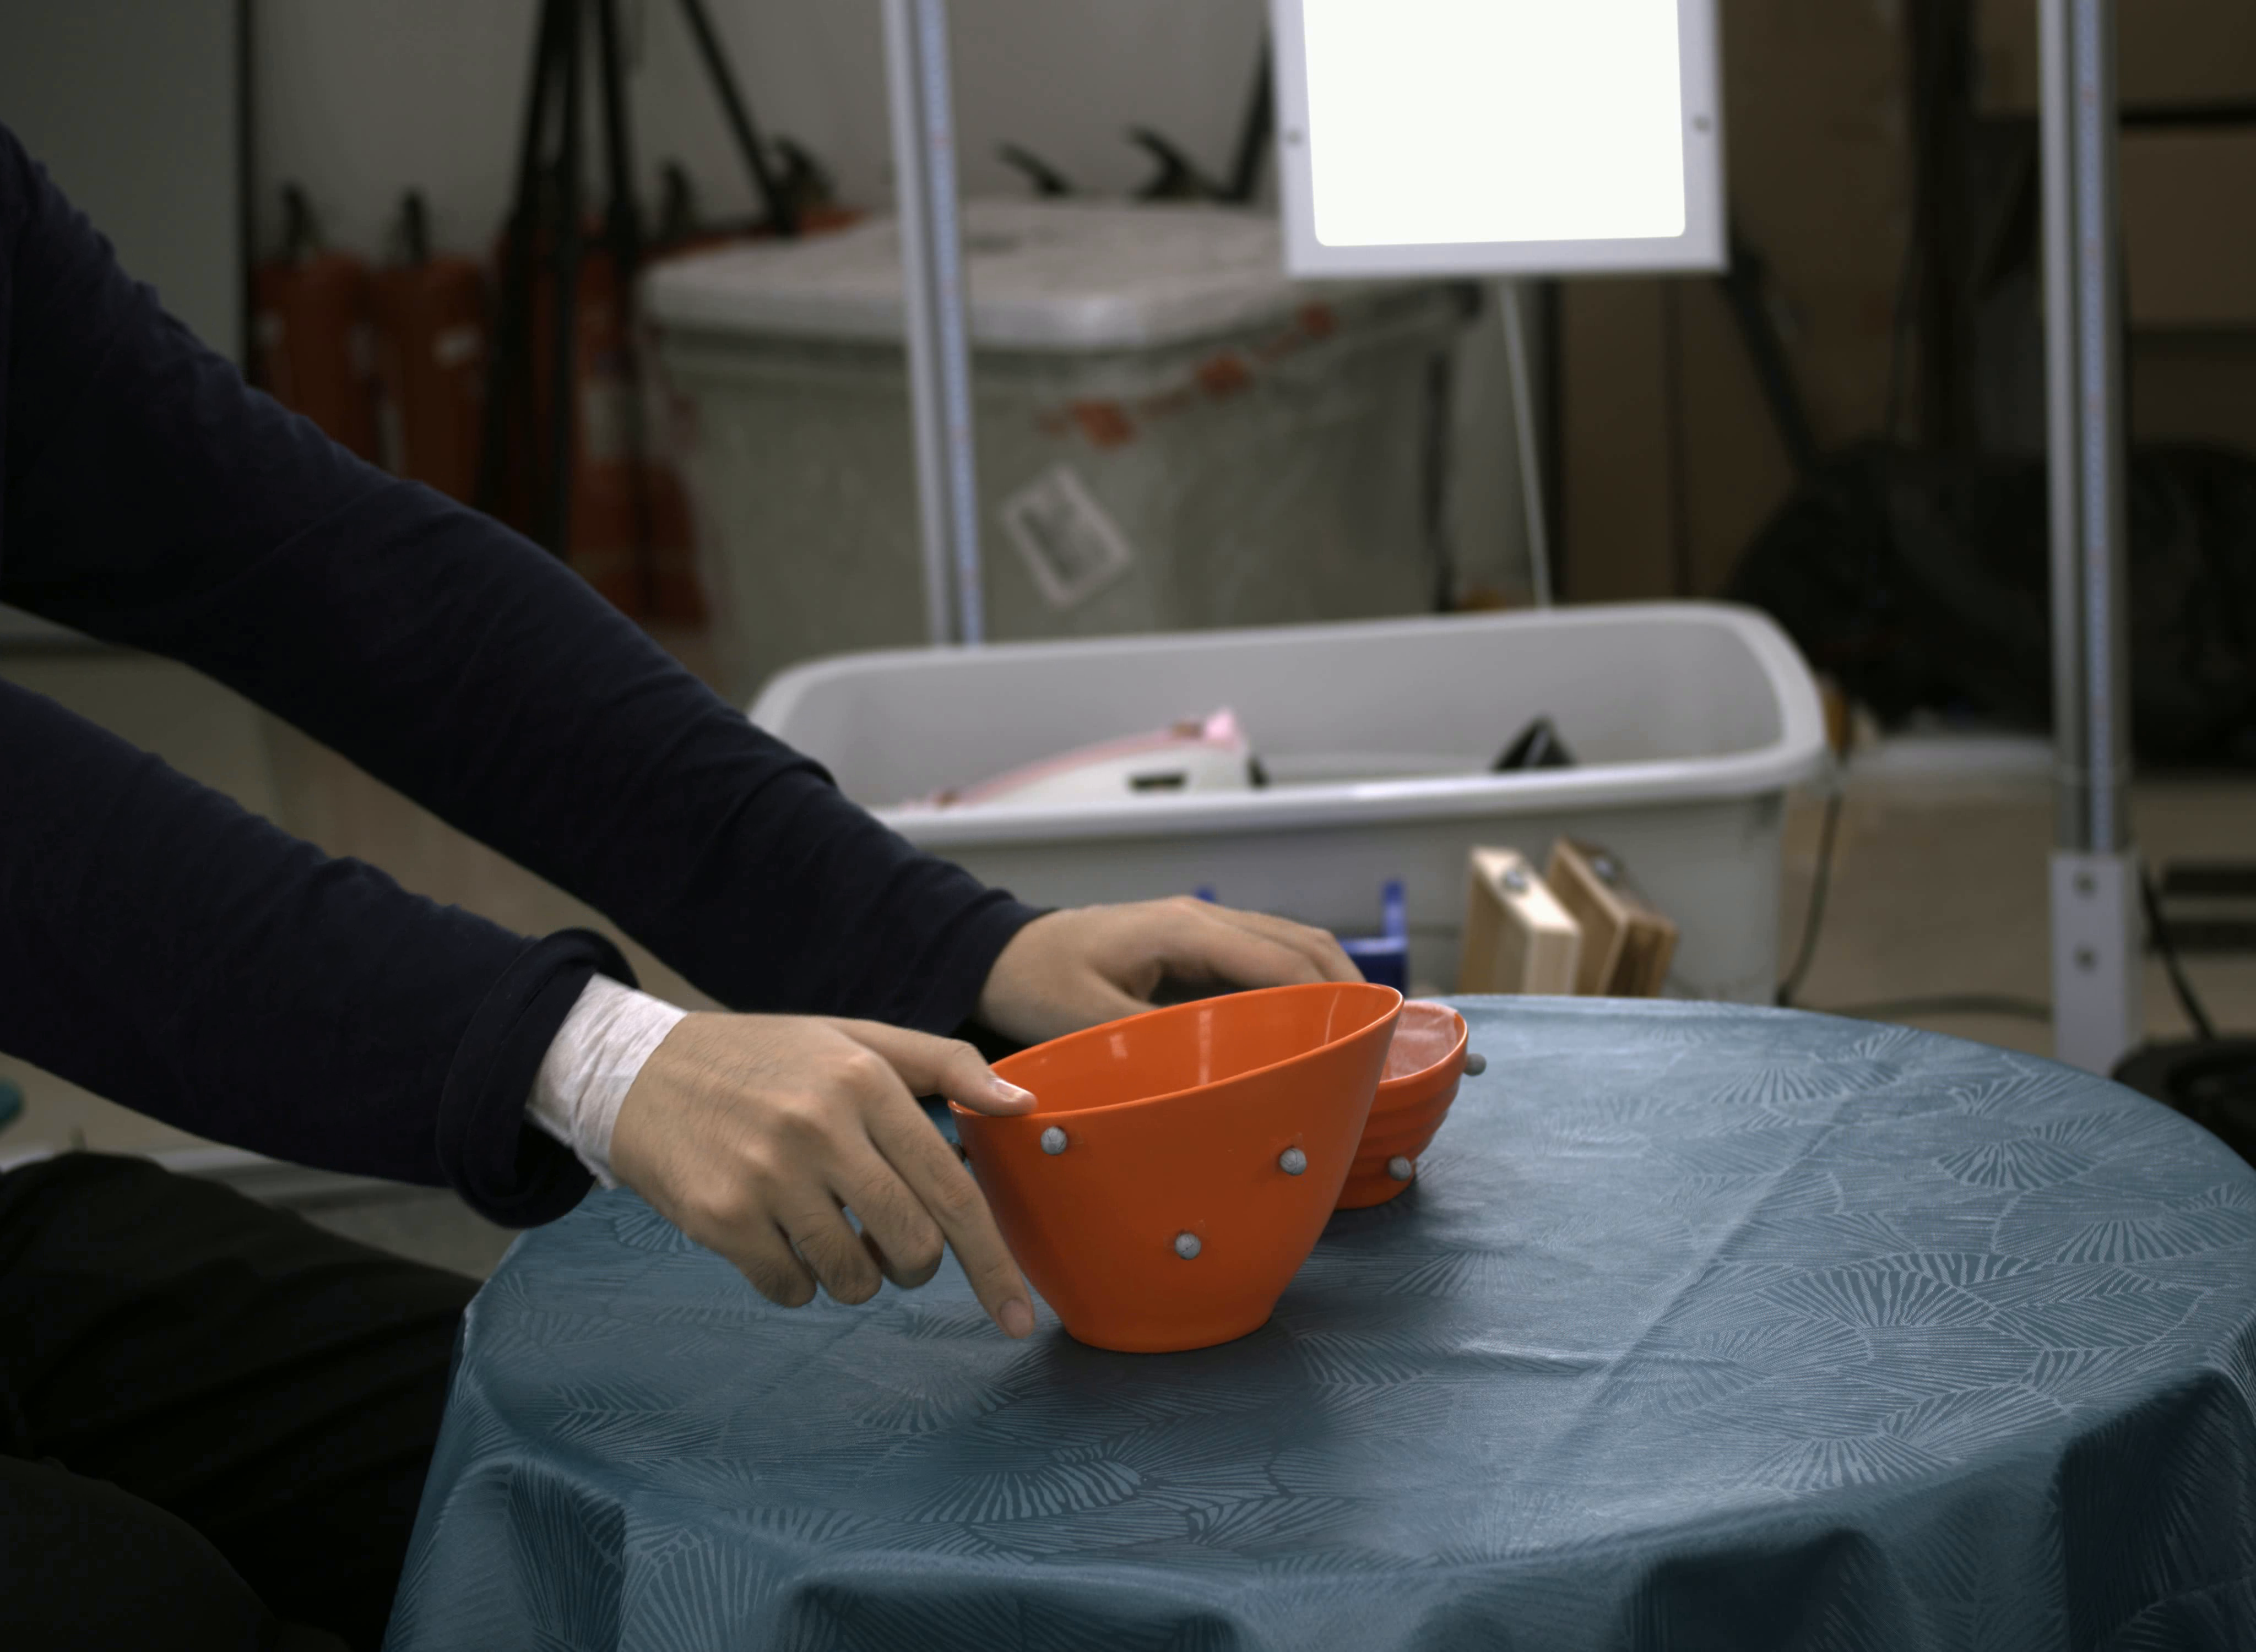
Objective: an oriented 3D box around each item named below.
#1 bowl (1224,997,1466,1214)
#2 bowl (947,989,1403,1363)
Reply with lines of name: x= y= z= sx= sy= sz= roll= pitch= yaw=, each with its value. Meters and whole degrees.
bowl: x=0.063 y=0.099 z=1.891 sx=0.118 sy=0.051 sz=0.119 roll=-7 pitch=15 yaw=0
bowl: x=0.018 y=0.112 z=1.749 sx=0.147 sy=0.105 sz=0.148 roll=-6 pitch=13 yaw=0
